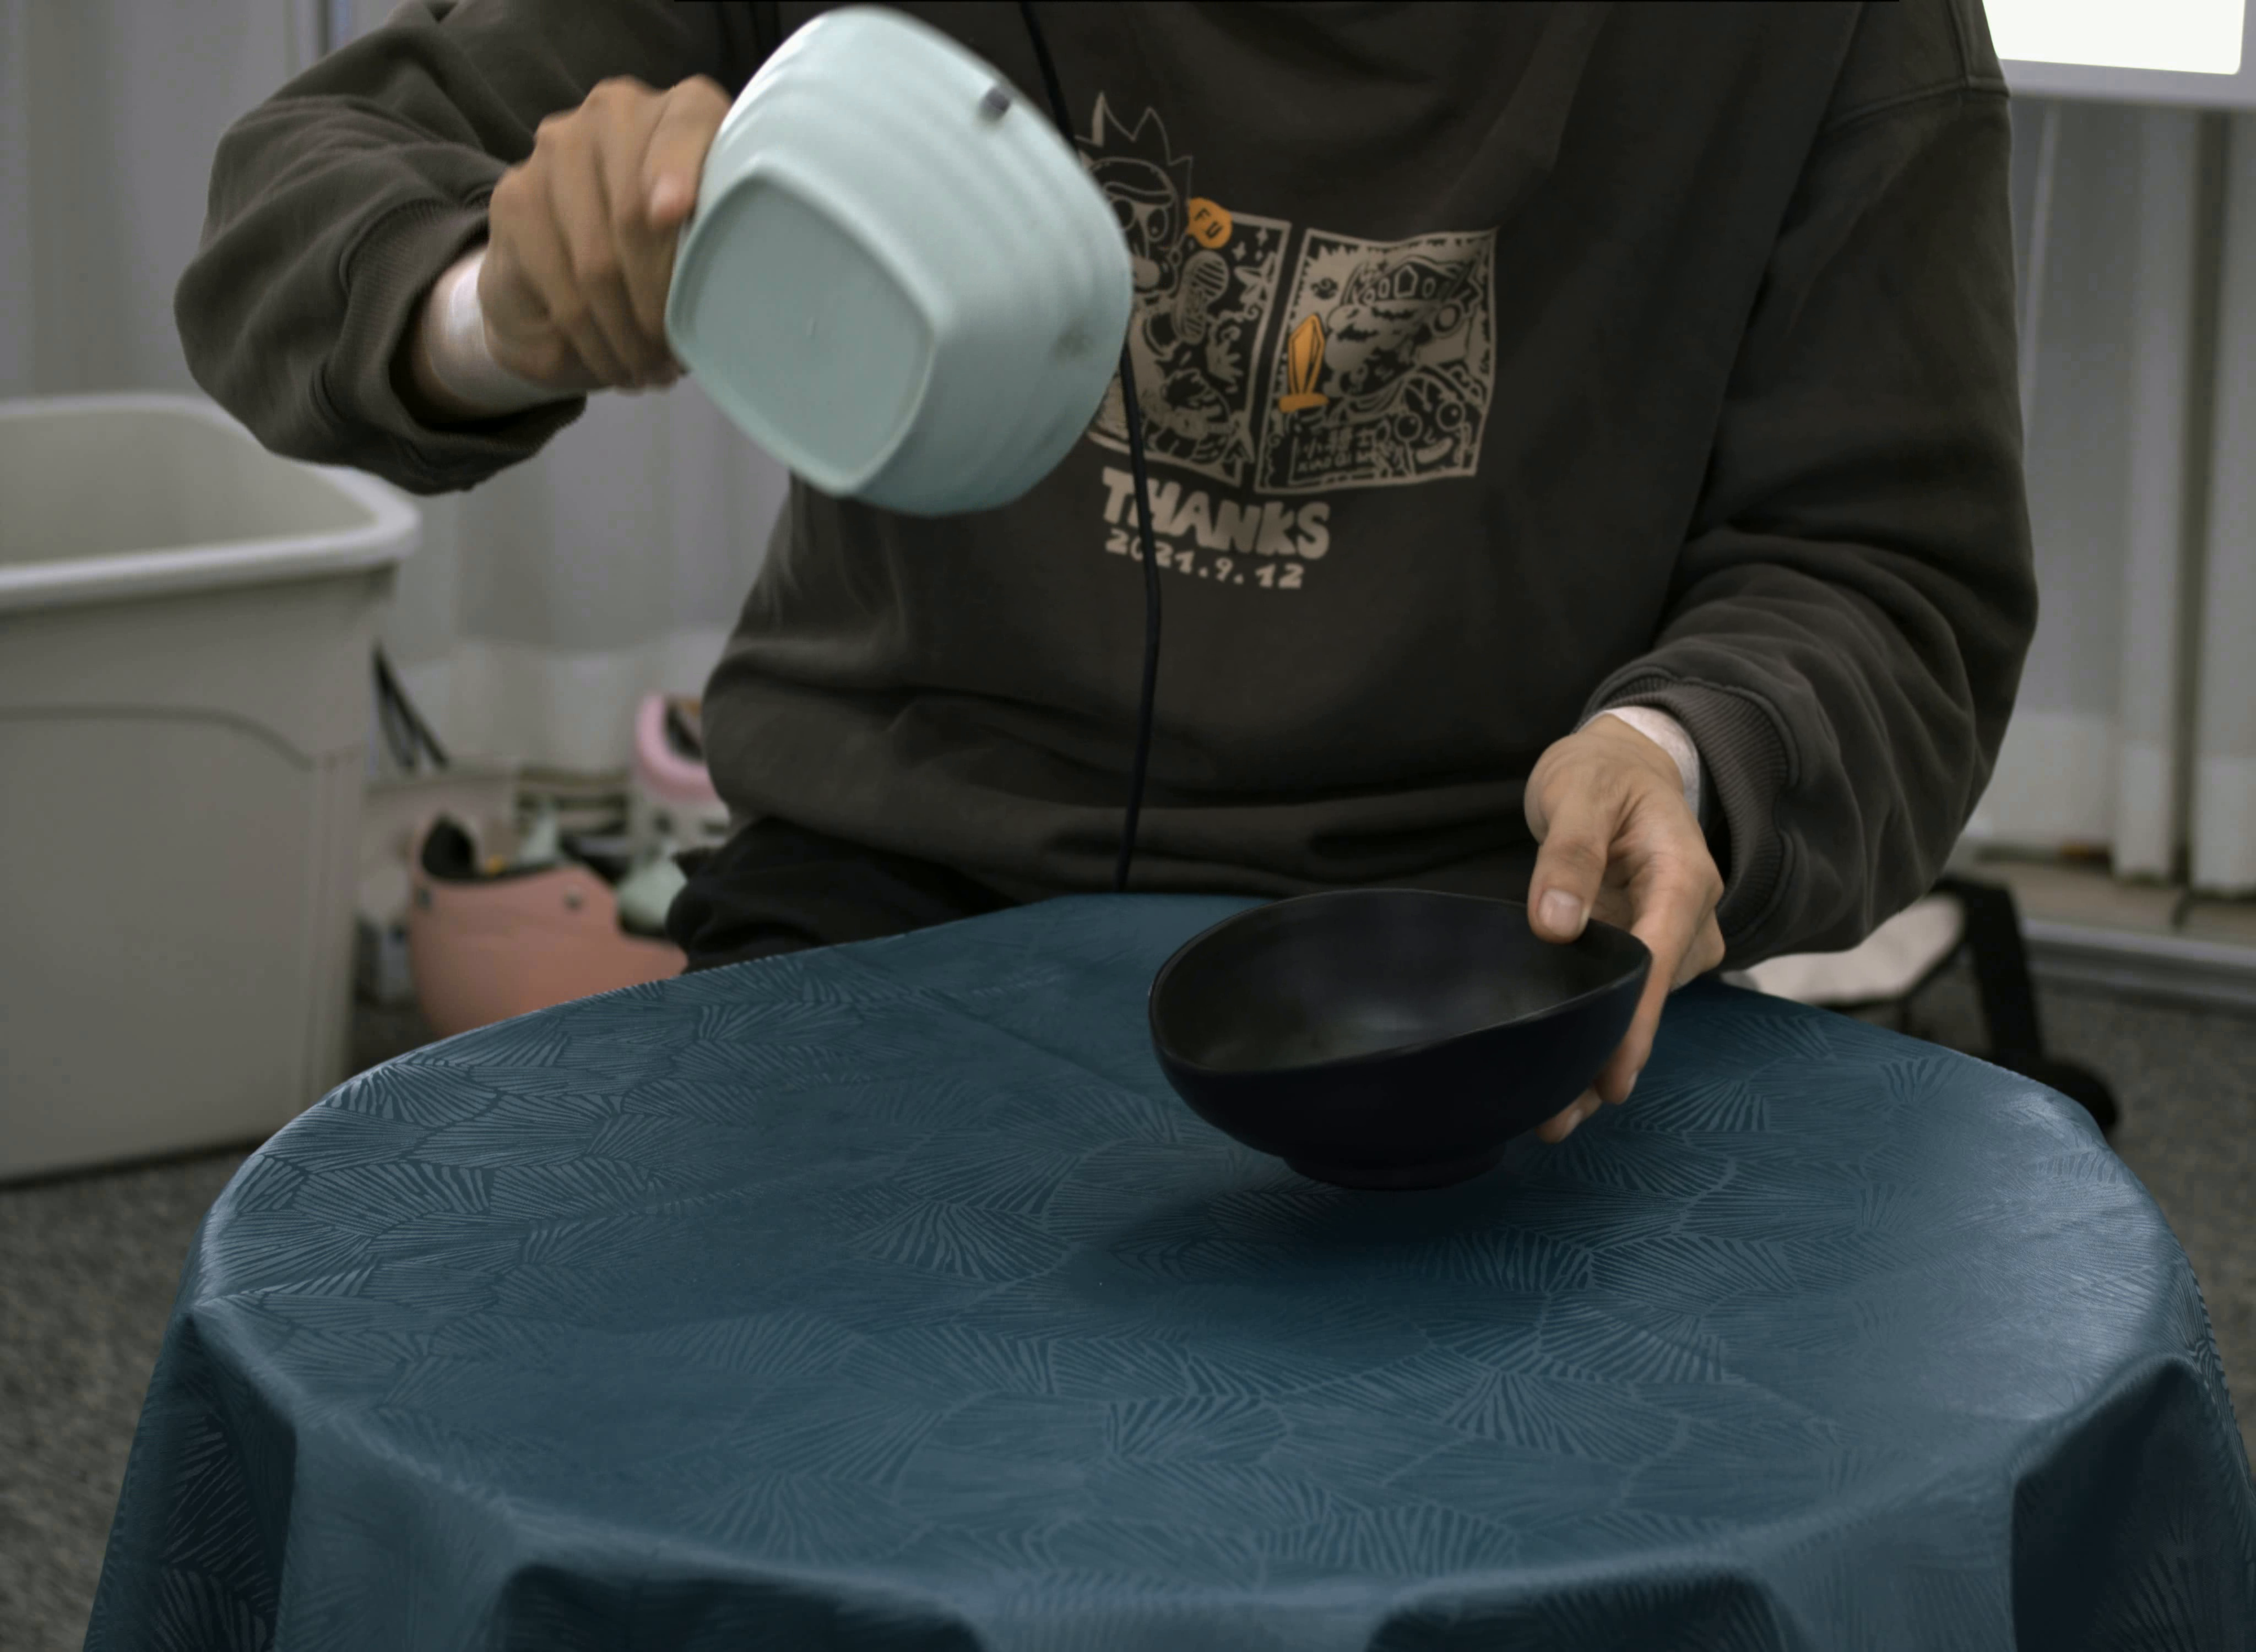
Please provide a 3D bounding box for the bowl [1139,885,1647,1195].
[{"bbox_3d":[0.081,0.071,1.605,0.171,0.067,0.135,-17,23,-42],"label":"bowl"}]

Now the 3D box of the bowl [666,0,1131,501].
[{"bbox_3d":[-0.075,-0.157,1.474,0.149,0.153,0.059,12,28,34],"label":"bowl"}]
